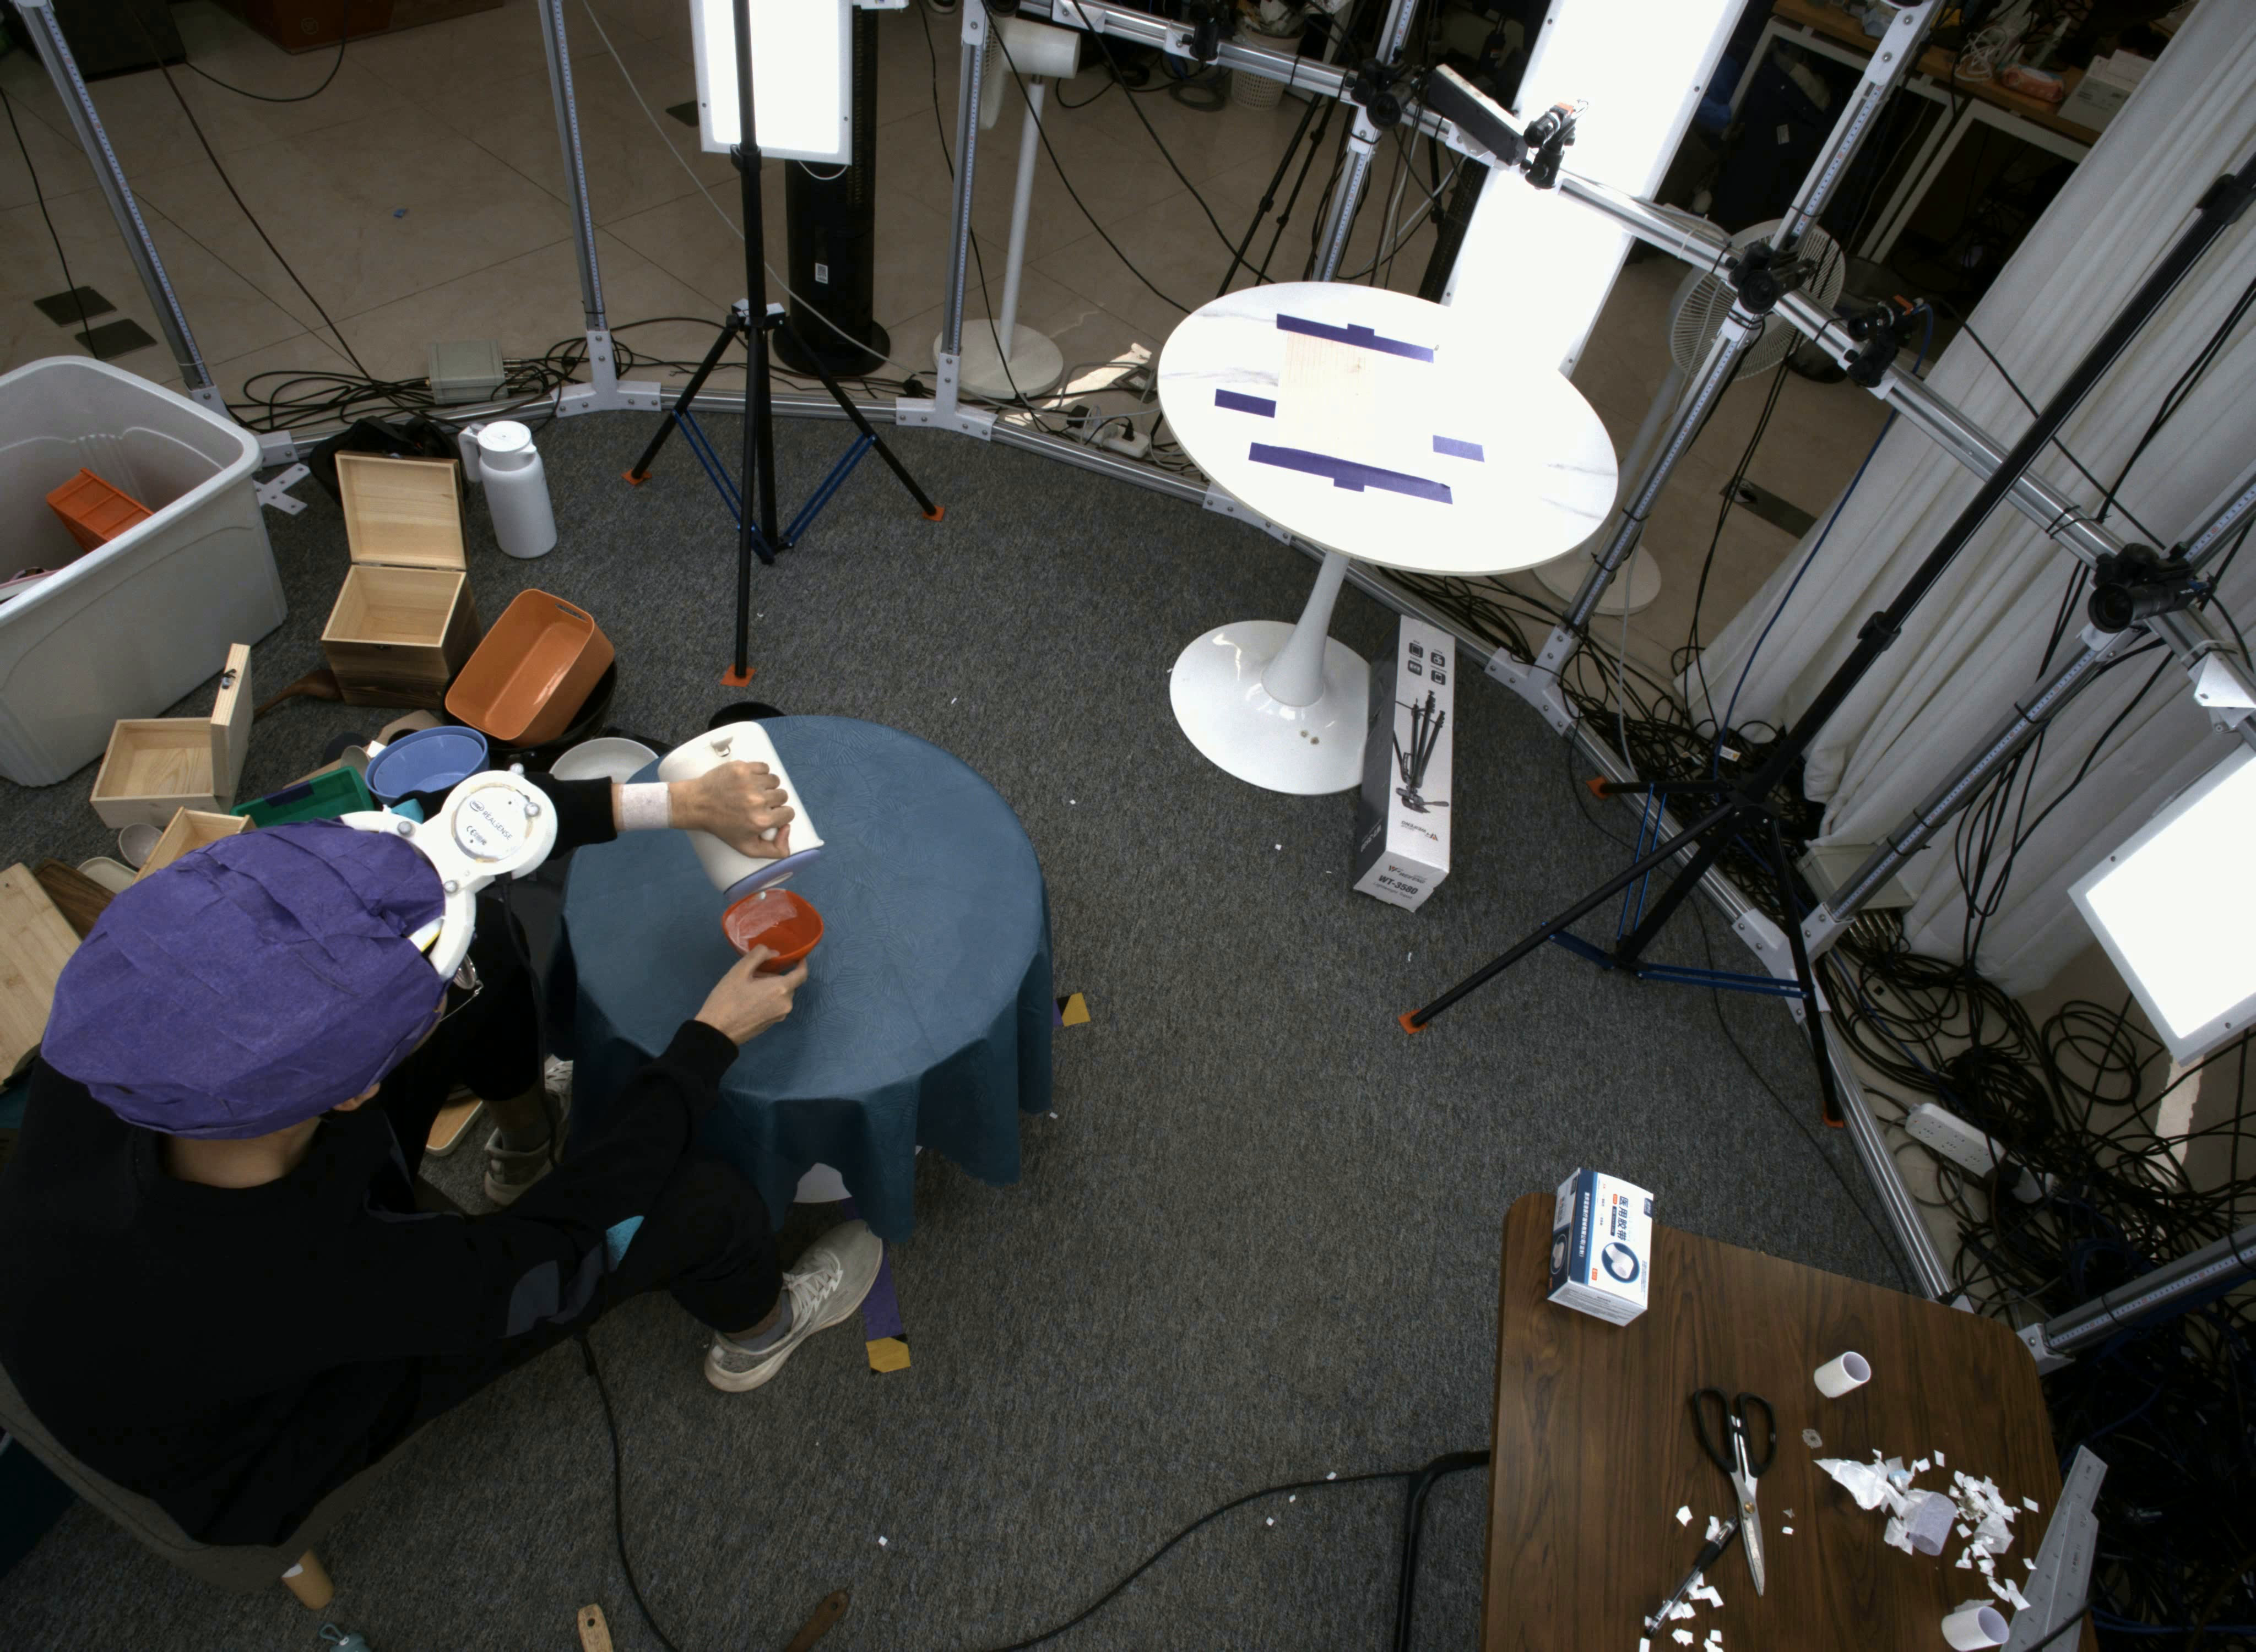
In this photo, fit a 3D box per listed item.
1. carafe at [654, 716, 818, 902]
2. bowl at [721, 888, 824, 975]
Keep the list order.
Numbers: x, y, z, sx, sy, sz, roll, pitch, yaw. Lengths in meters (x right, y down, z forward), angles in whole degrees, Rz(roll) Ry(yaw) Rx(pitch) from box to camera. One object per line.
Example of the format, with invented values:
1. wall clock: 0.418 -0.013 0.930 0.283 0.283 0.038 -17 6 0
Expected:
1. carafe: -0.438 -0.027 1.450 0.132 0.190 0.183 -29 86 -23
2. bowl: -0.426 0.131 1.548 0.119 0.052 0.116 13 39 -9
